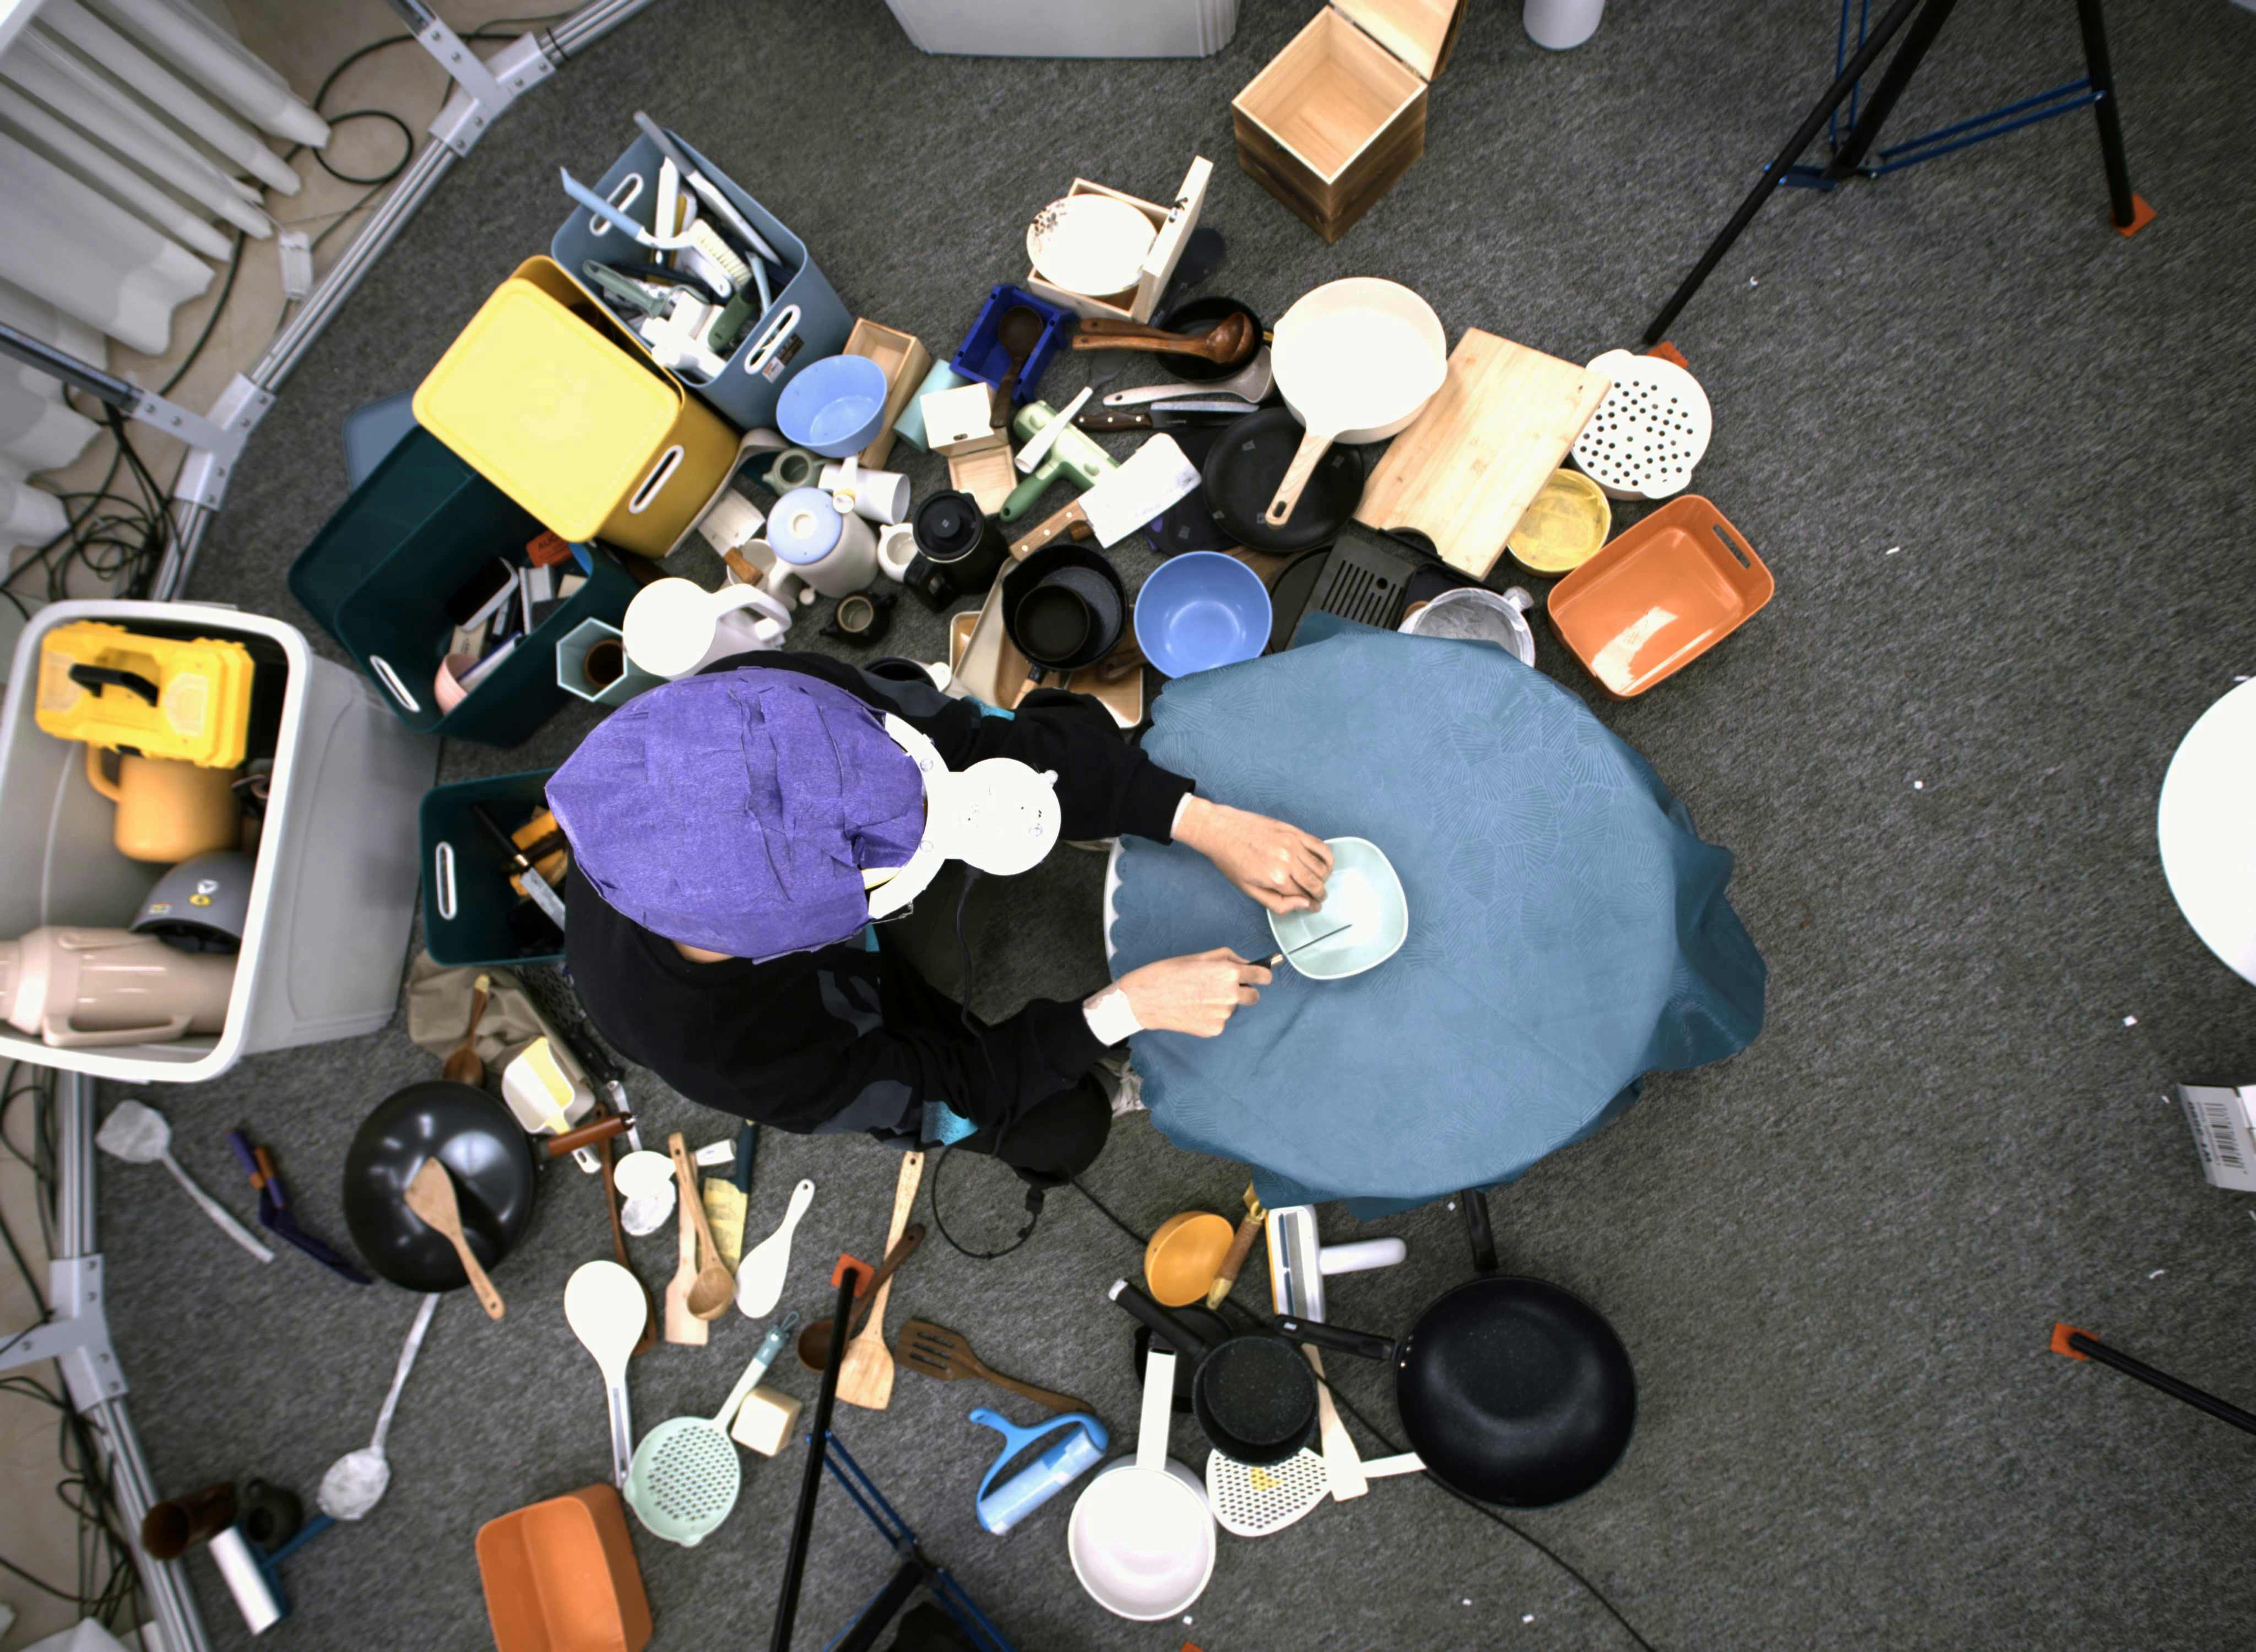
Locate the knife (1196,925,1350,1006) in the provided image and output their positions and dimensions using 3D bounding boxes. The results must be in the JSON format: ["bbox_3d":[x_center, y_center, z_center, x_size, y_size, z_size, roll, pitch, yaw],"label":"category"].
[{"bbox_3d":[0.152,0.135,1.398,0.222,0.027,0.017,-21,68,-35],"label":"knife"}]

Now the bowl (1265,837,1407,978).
[{"bbox_3d":[0.217,0.084,1.441,0.152,0.058,0.151,-1,88,10],"label":"bowl"}]
